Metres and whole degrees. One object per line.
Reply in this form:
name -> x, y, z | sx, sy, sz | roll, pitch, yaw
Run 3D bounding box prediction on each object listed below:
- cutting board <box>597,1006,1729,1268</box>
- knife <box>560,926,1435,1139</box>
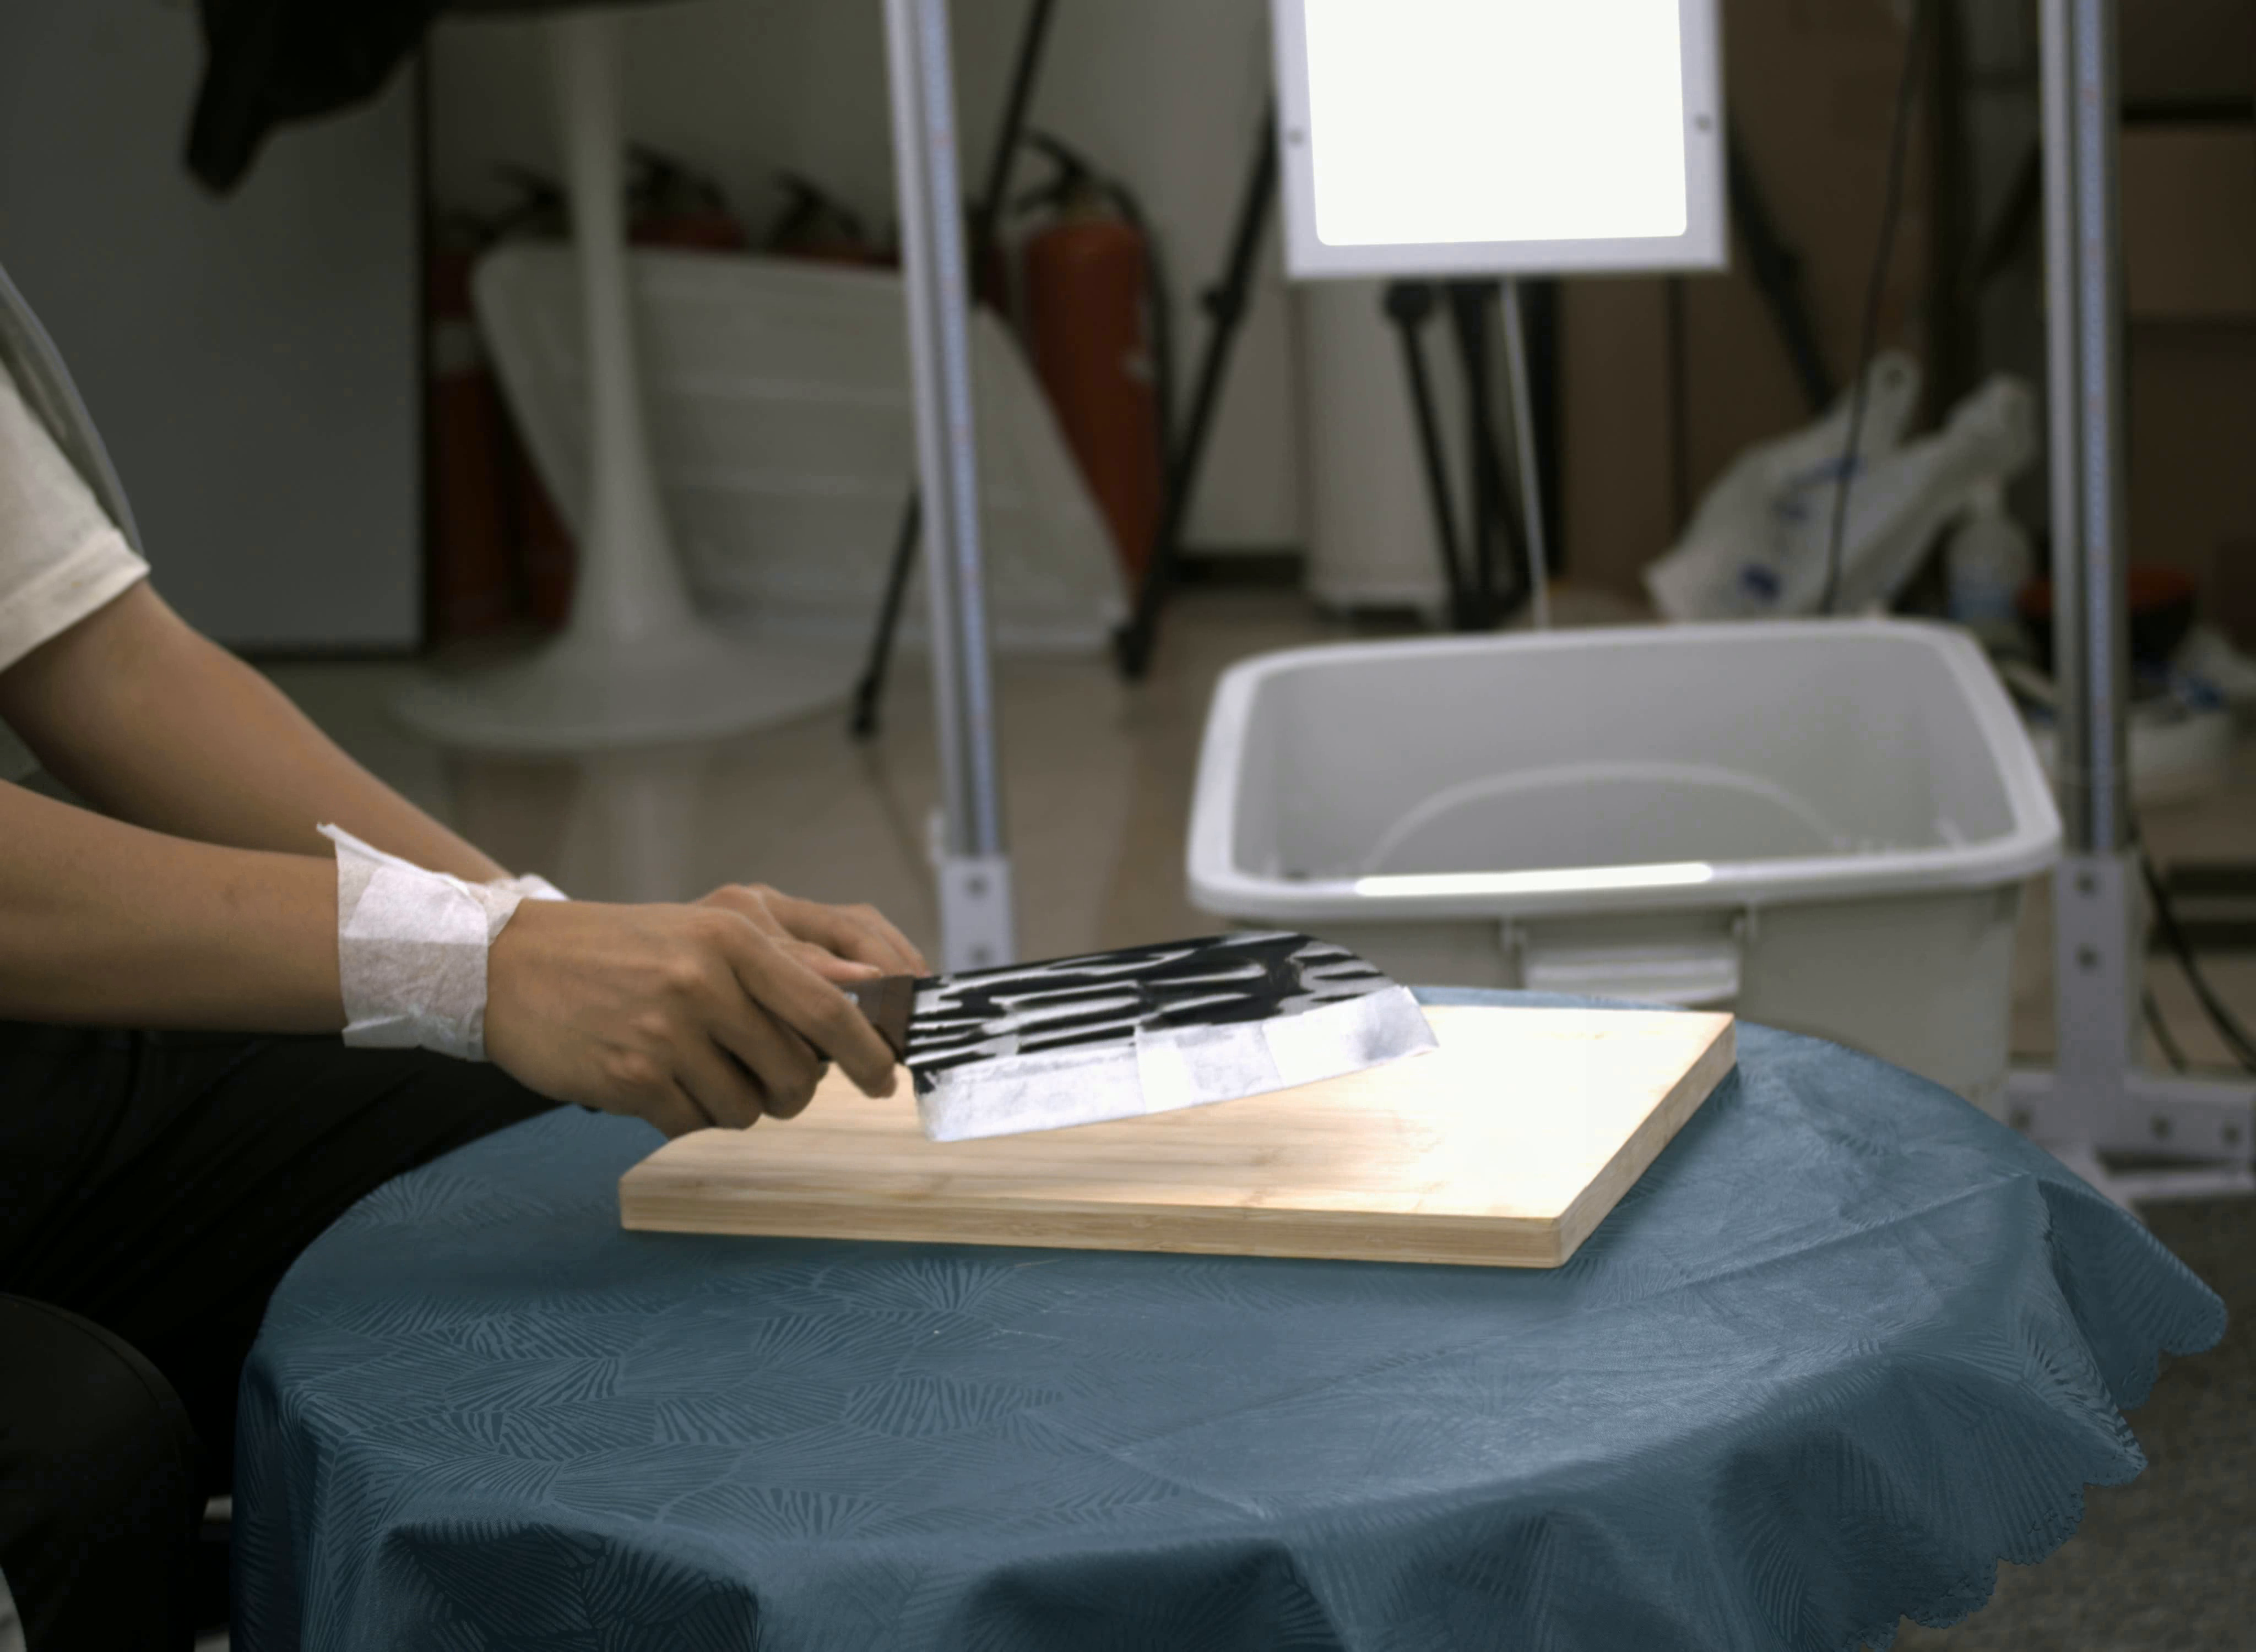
cutting board -> 0.017, 0.104, 1.948 | 0.353, 0.023, 0.246 | 0, 14, 21
knife -> -0.046, 0.074, 1.862 | 0.300, 0.024, 0.068 | -7, 56, 8
